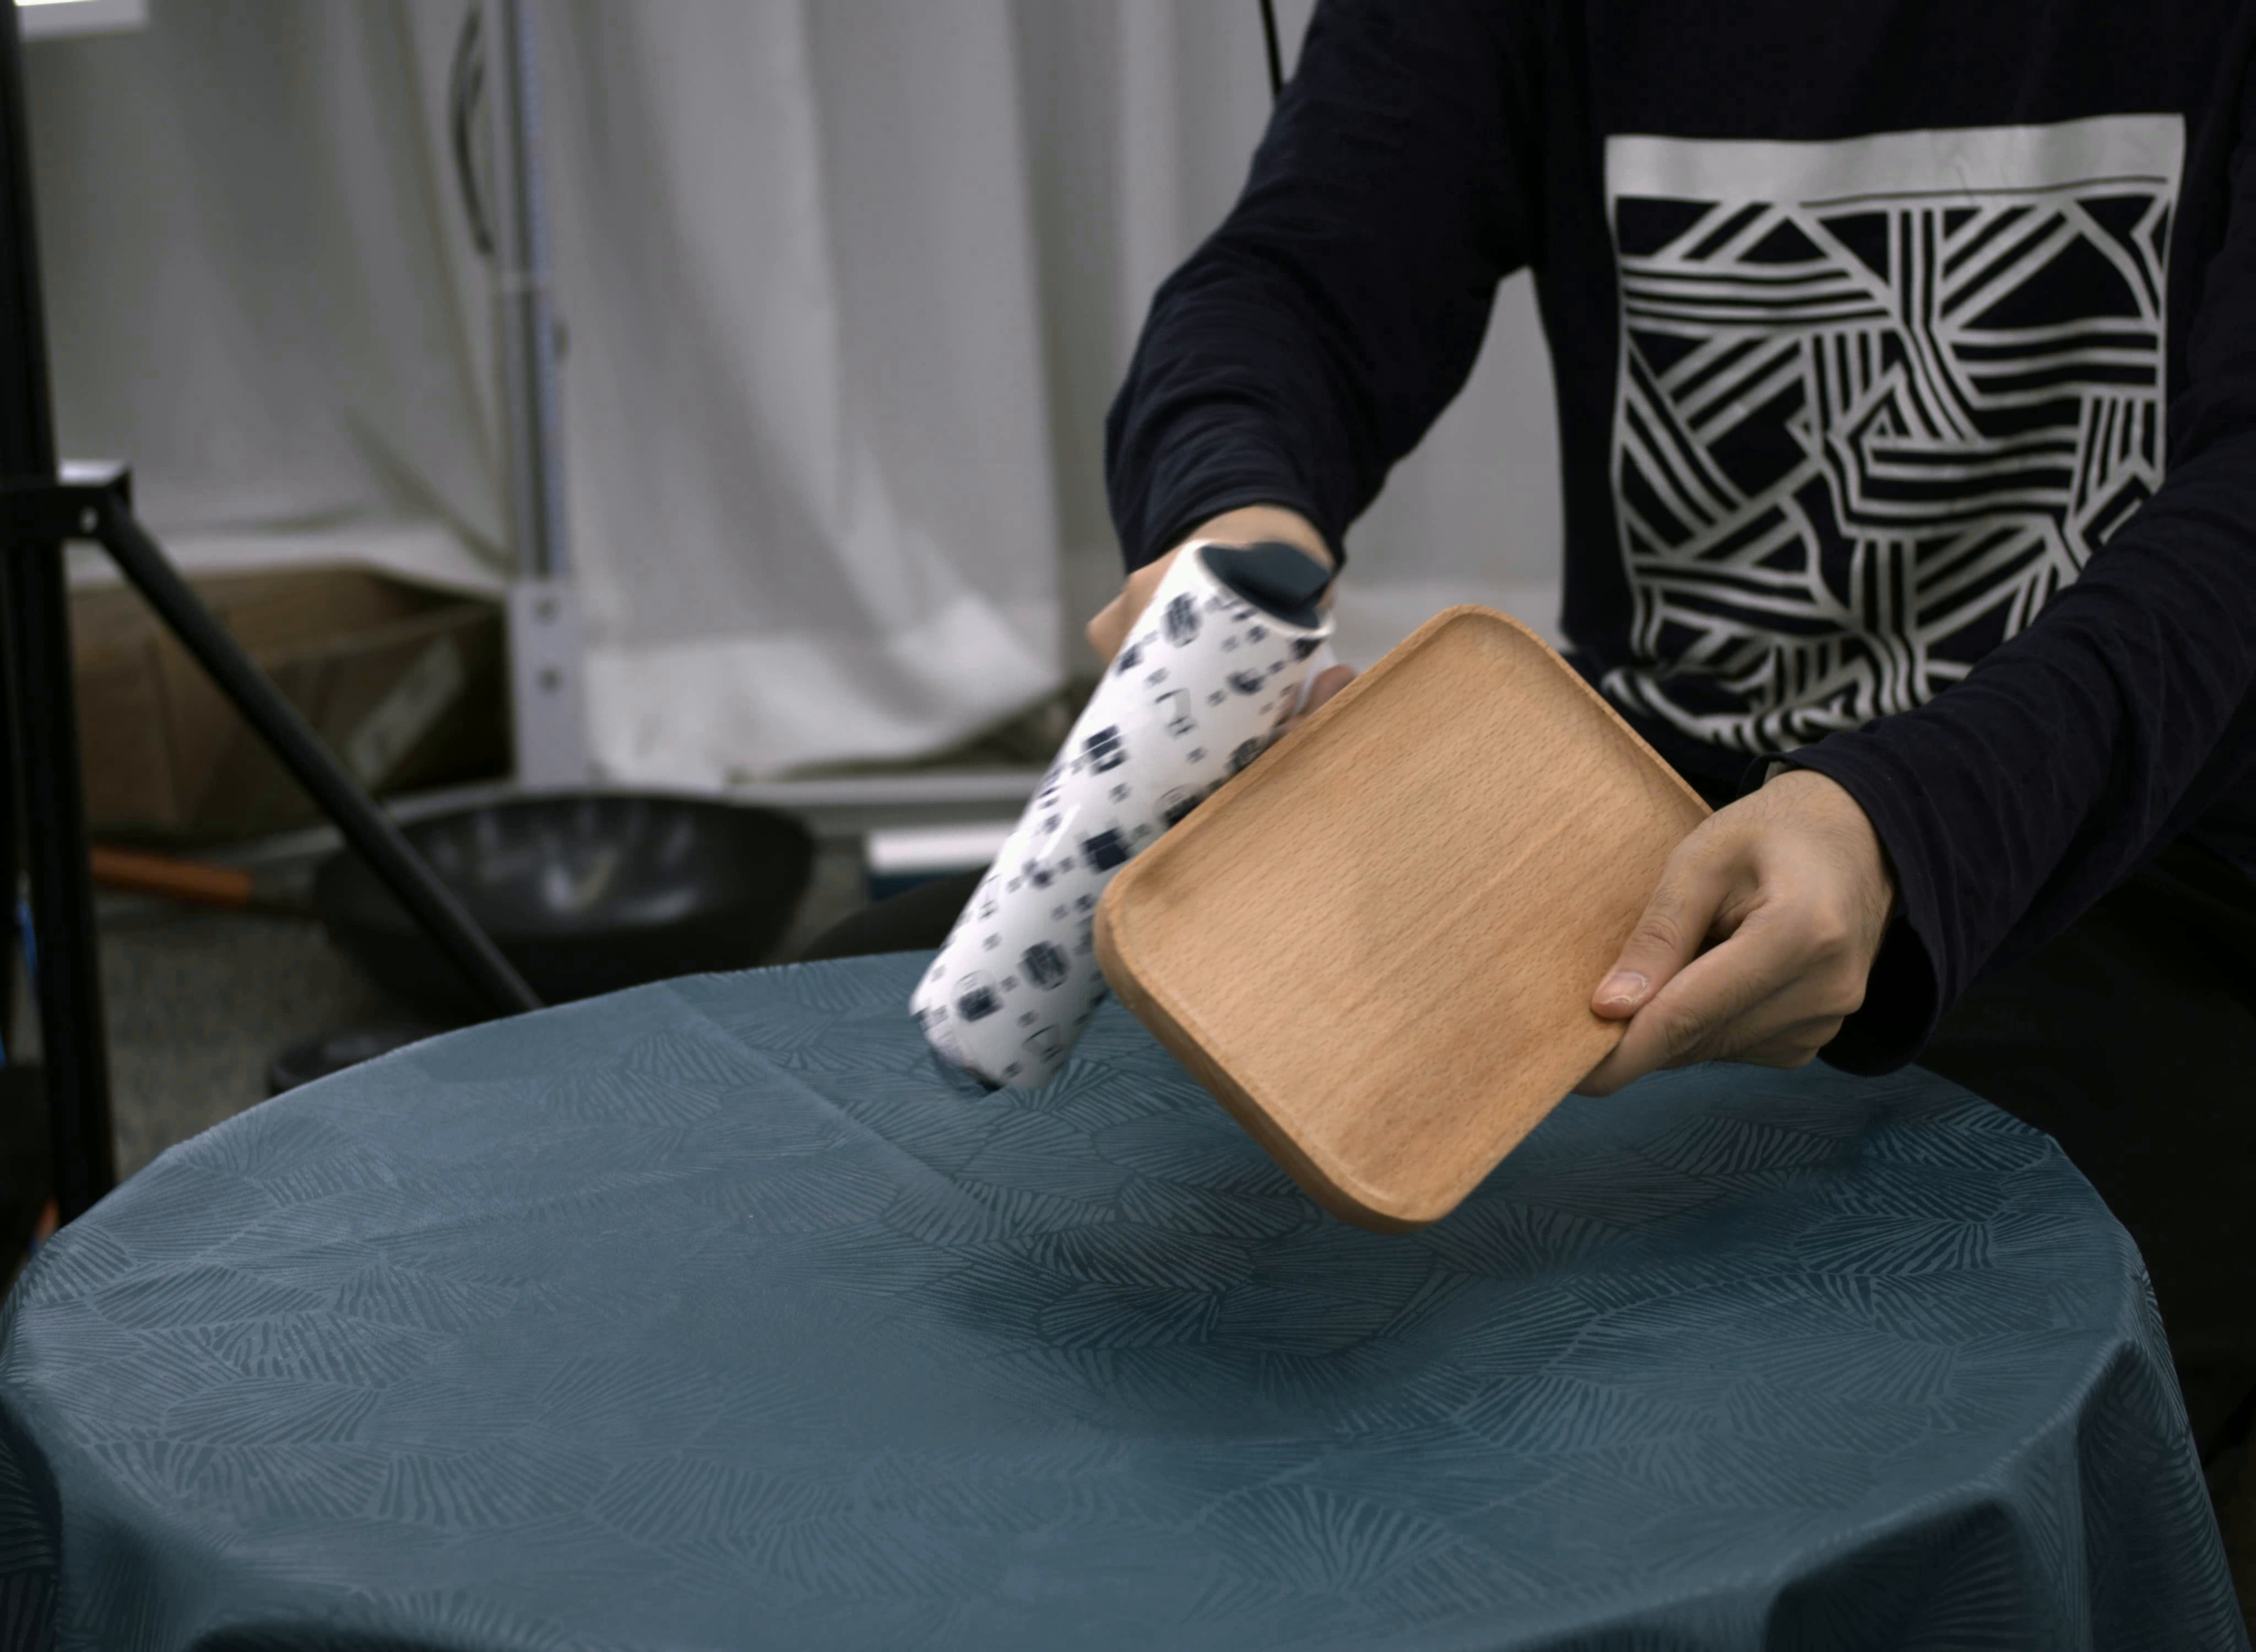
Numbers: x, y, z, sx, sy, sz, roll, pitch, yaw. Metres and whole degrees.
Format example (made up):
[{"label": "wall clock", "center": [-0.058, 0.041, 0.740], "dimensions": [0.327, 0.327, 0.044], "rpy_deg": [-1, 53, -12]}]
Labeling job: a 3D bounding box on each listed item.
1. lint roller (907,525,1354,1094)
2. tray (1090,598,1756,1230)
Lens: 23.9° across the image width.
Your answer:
[{"label": "lint roller", "center": [0.020, -0.024, 1.585], "dimensions": [0.050, 0.177, 0.245], "rpy_deg": [32, 20, 6]}, {"label": "tray", "center": [0.086, 0.021, 1.487], "dimensions": [0.023, 0.131, 0.247], "rpy_deg": [-46, -7, 38]}]
